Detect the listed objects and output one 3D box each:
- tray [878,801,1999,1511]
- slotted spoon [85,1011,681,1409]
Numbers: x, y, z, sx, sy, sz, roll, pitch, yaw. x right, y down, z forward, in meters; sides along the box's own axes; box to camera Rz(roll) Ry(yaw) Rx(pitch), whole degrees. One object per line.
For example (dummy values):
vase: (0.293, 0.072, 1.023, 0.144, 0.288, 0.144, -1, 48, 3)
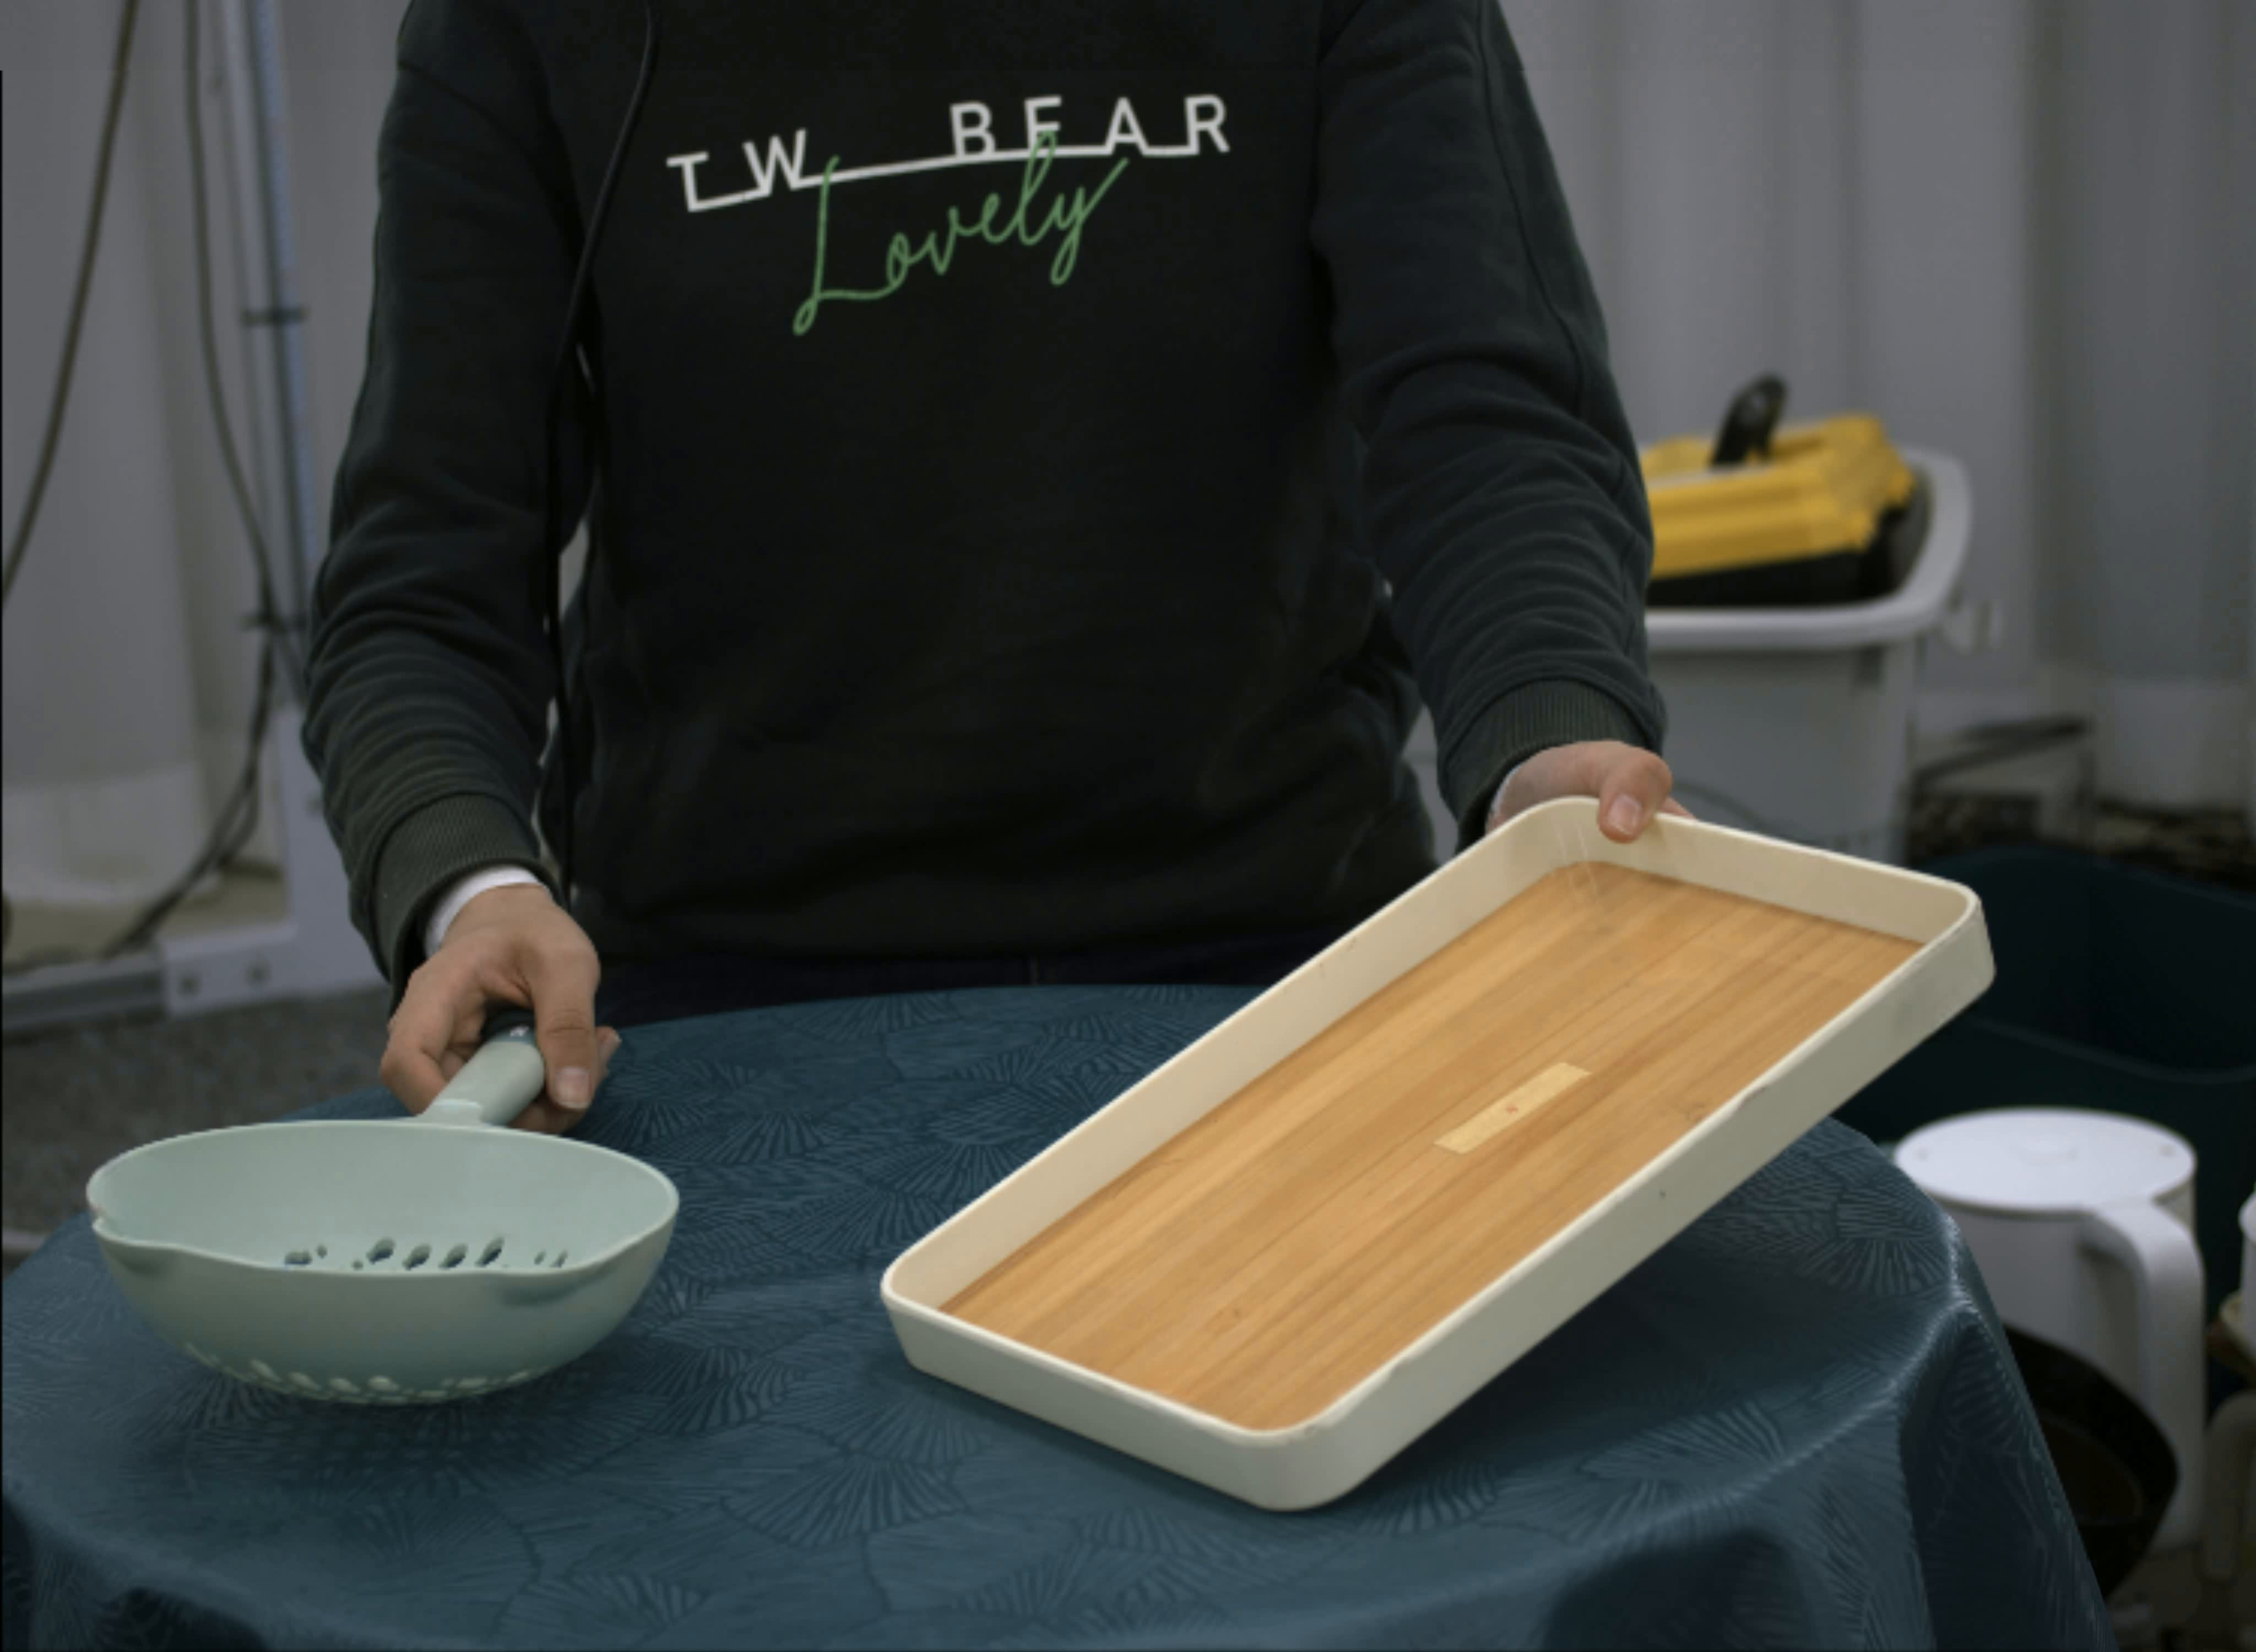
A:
tray: (0.091, 0.088, 1.581, 0.301, 0.027, 0.193, -33, 29, -30)
slotted spoon: (-0.205, 0.100, 1.660, 0.169, 0.075, 0.361, 5, 18, 4)
